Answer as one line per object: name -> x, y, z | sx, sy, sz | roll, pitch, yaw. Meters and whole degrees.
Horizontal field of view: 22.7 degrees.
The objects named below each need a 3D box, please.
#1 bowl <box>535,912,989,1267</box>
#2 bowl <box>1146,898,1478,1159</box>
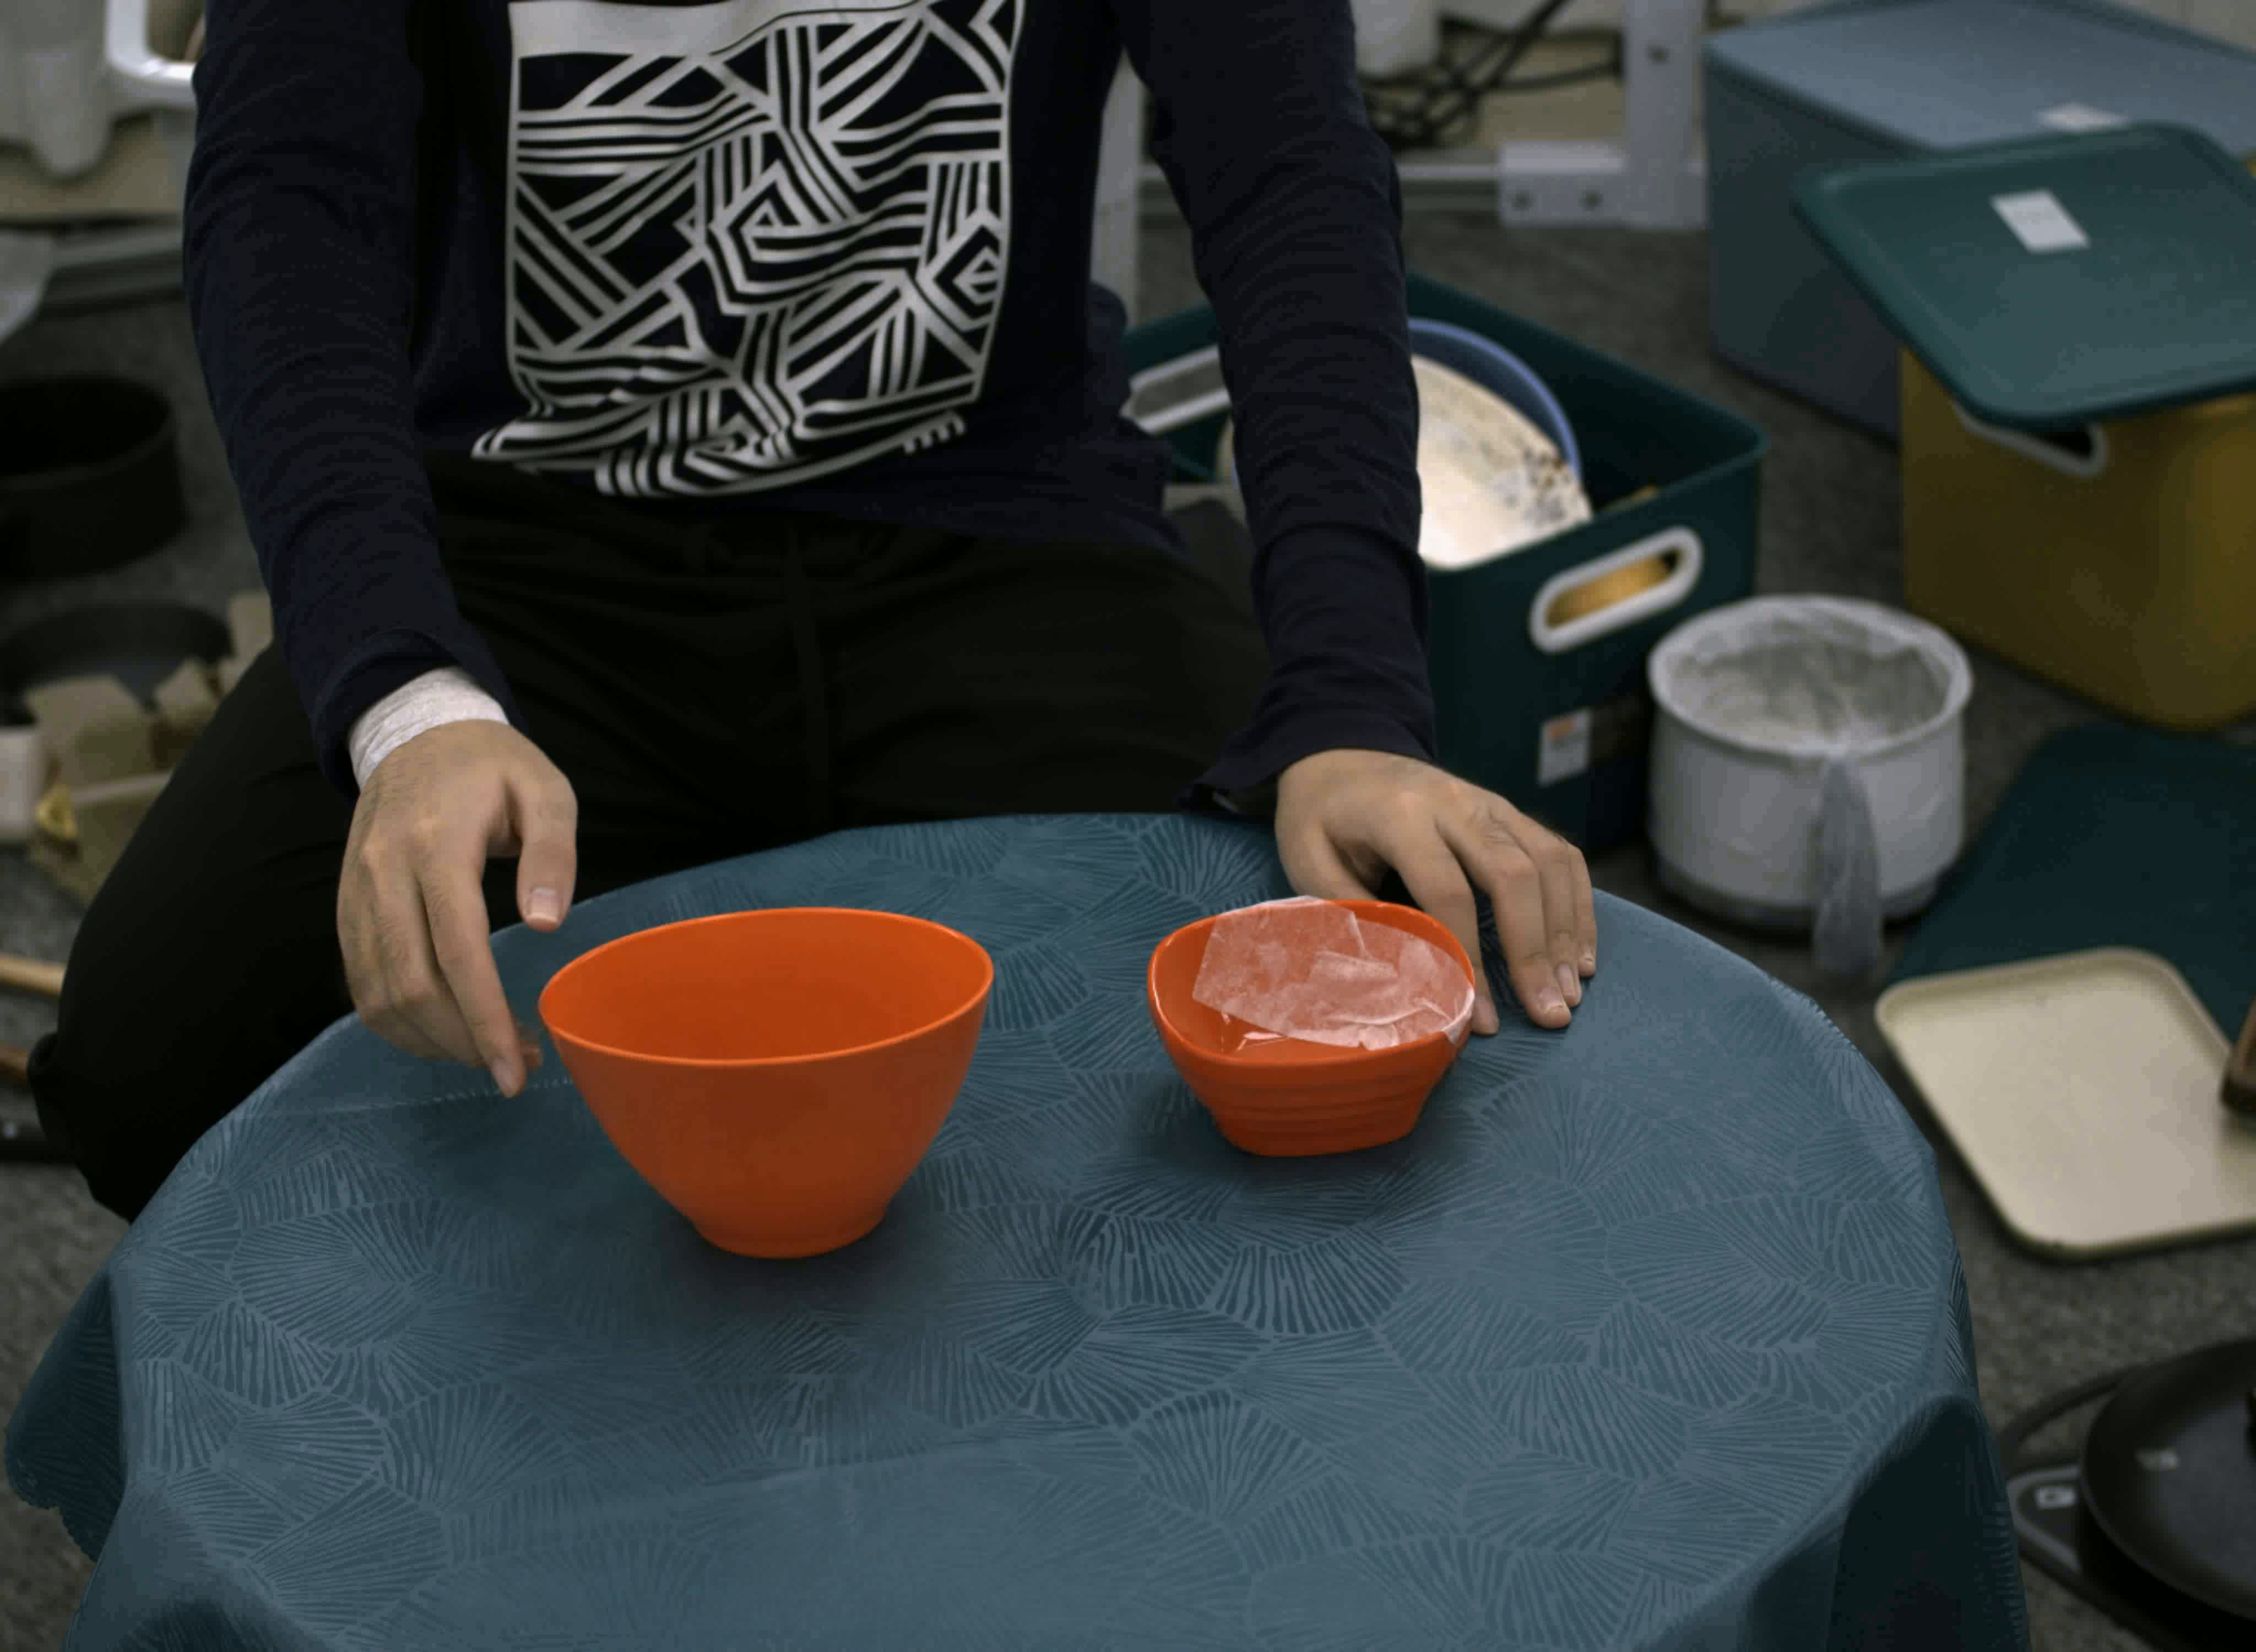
bowl -> -0.115, 0.089, 1.830 | 0.147, 0.103, 0.150 | -3, 26, 2
bowl -> 0.063, 0.072, 1.896 | 0.118, 0.051, 0.121 | -3, 27, 2
